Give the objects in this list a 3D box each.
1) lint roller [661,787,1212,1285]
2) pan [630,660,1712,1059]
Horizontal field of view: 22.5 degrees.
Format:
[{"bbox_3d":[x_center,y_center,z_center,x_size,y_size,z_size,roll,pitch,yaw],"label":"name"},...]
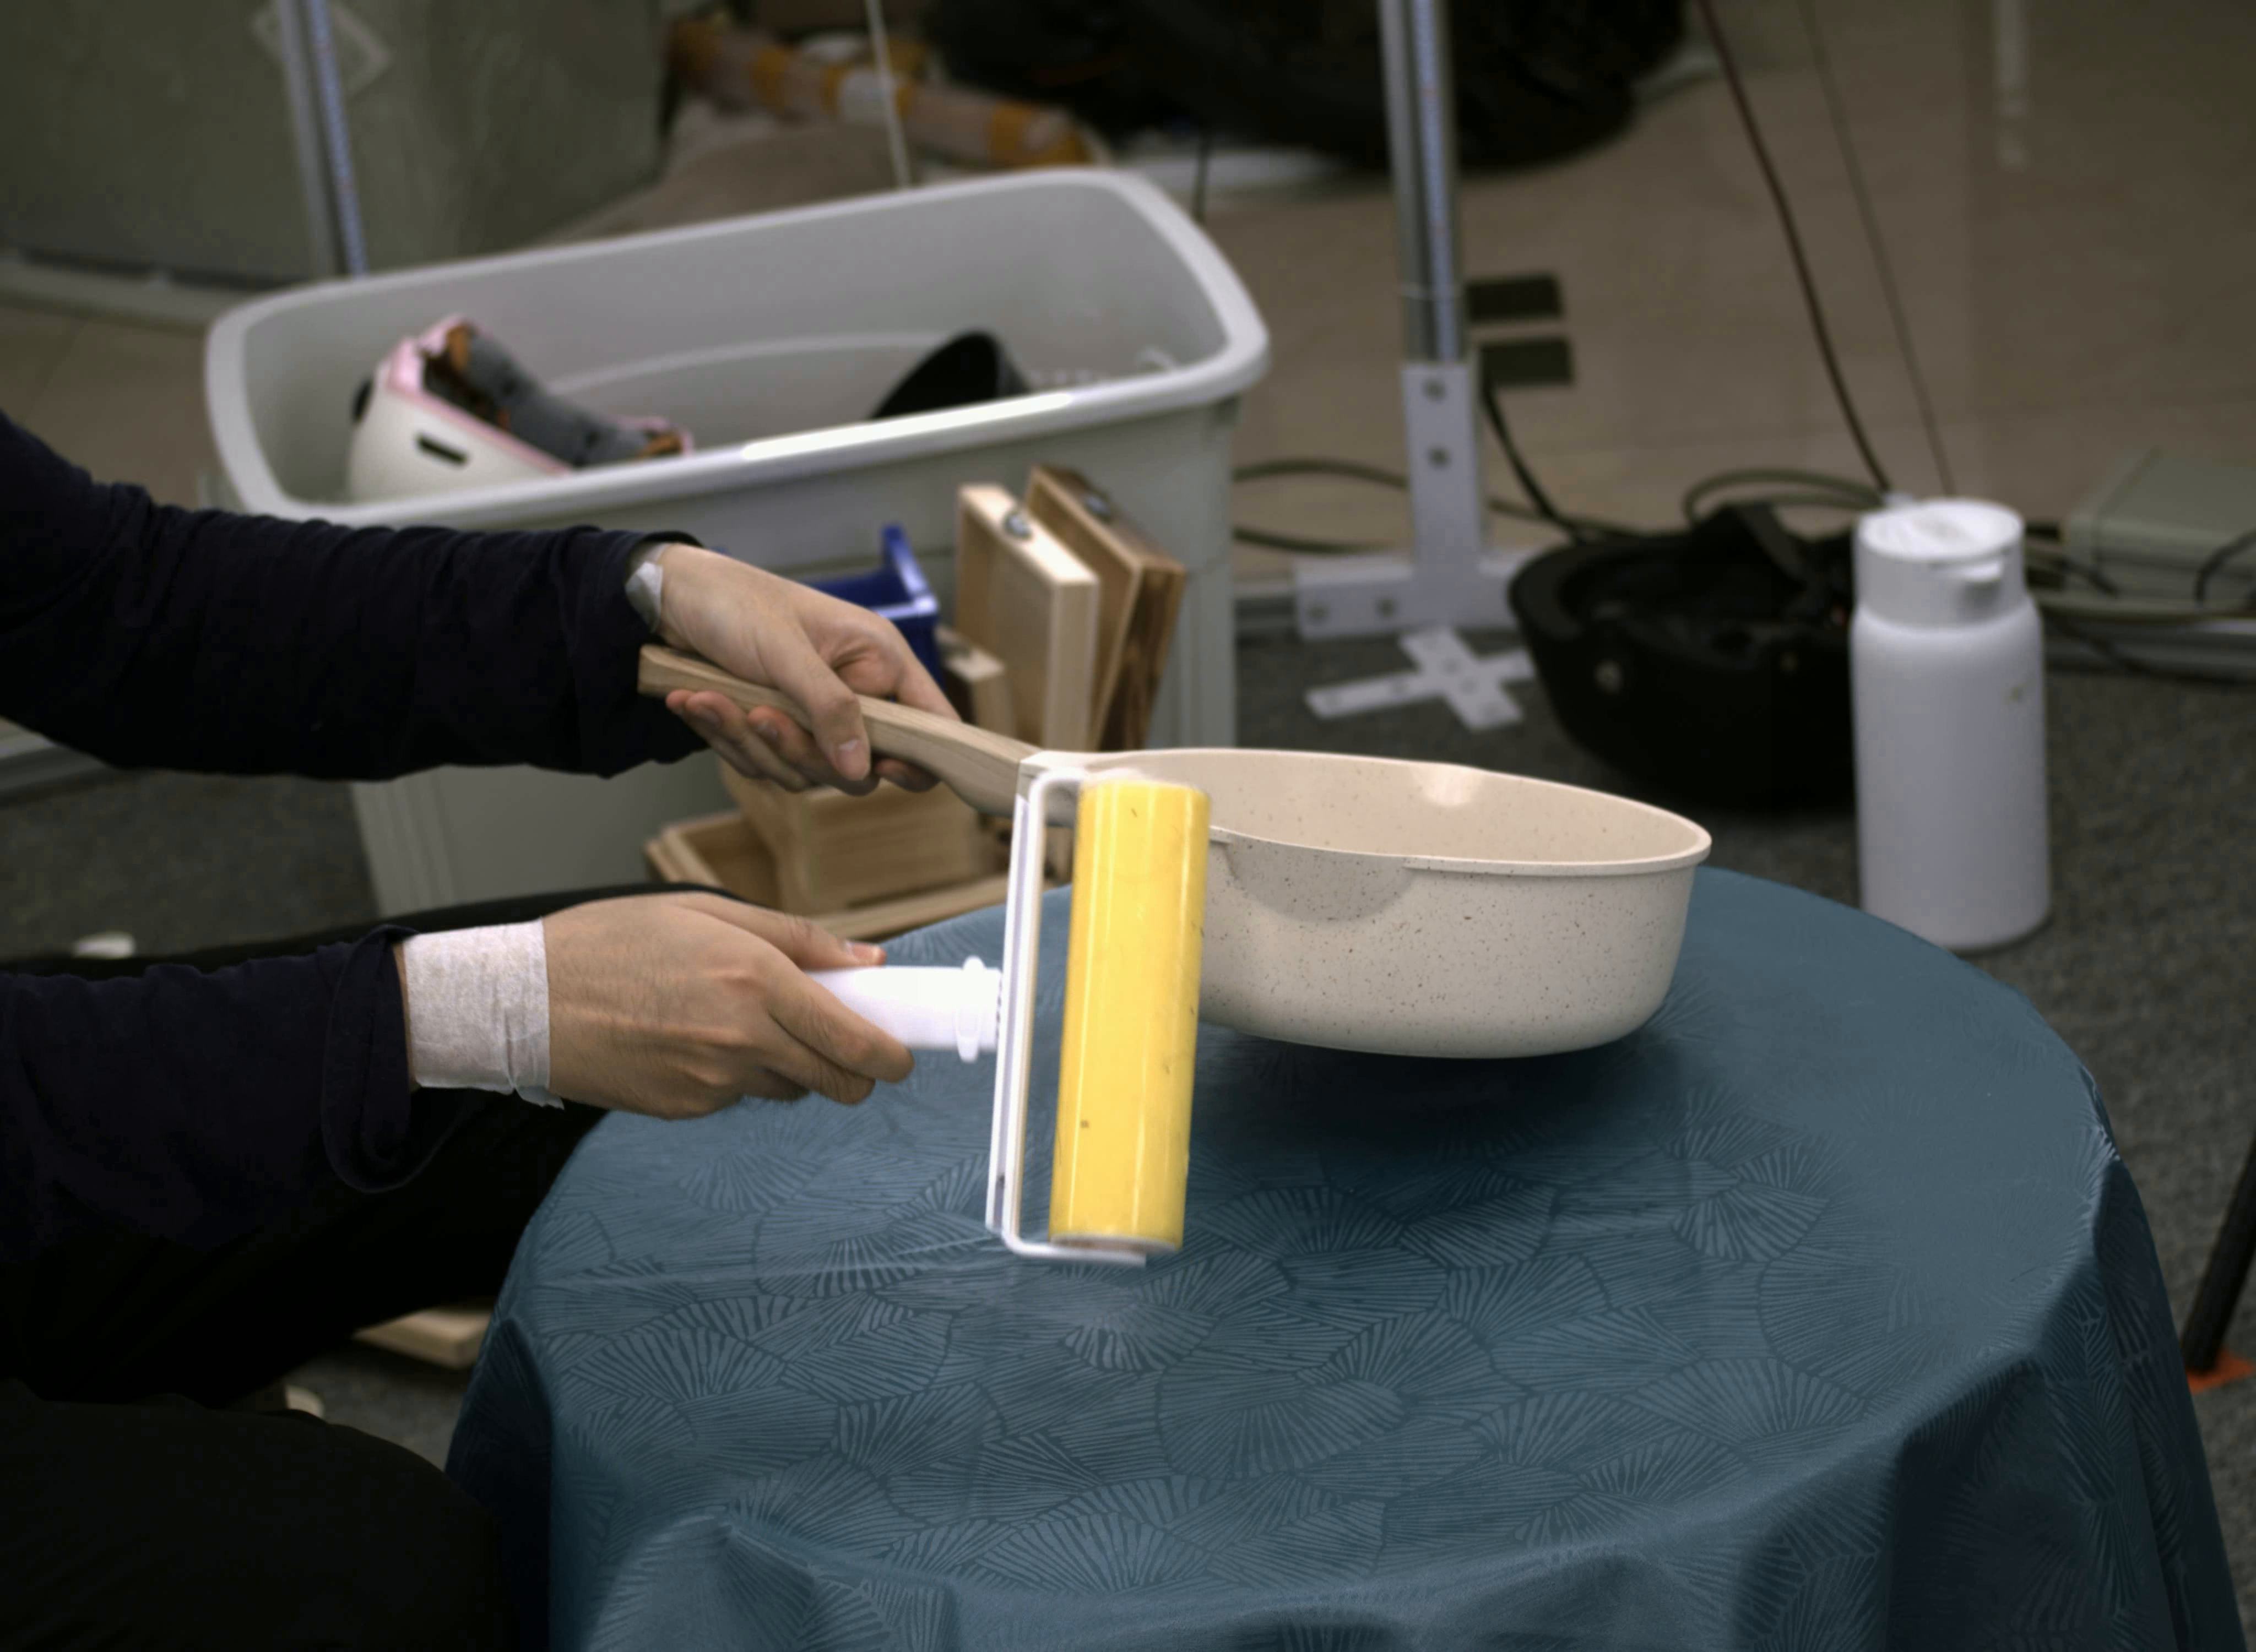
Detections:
[{"bbox_3d":[-0.071,0.069,1.985,0.191,0.173,0.052,3,-11,3],"label":"lint roller"},{"bbox_3d":[0.009,0.010,2.219,0.433,0.103,0.261,8,12,13],"label":"pan"}]
